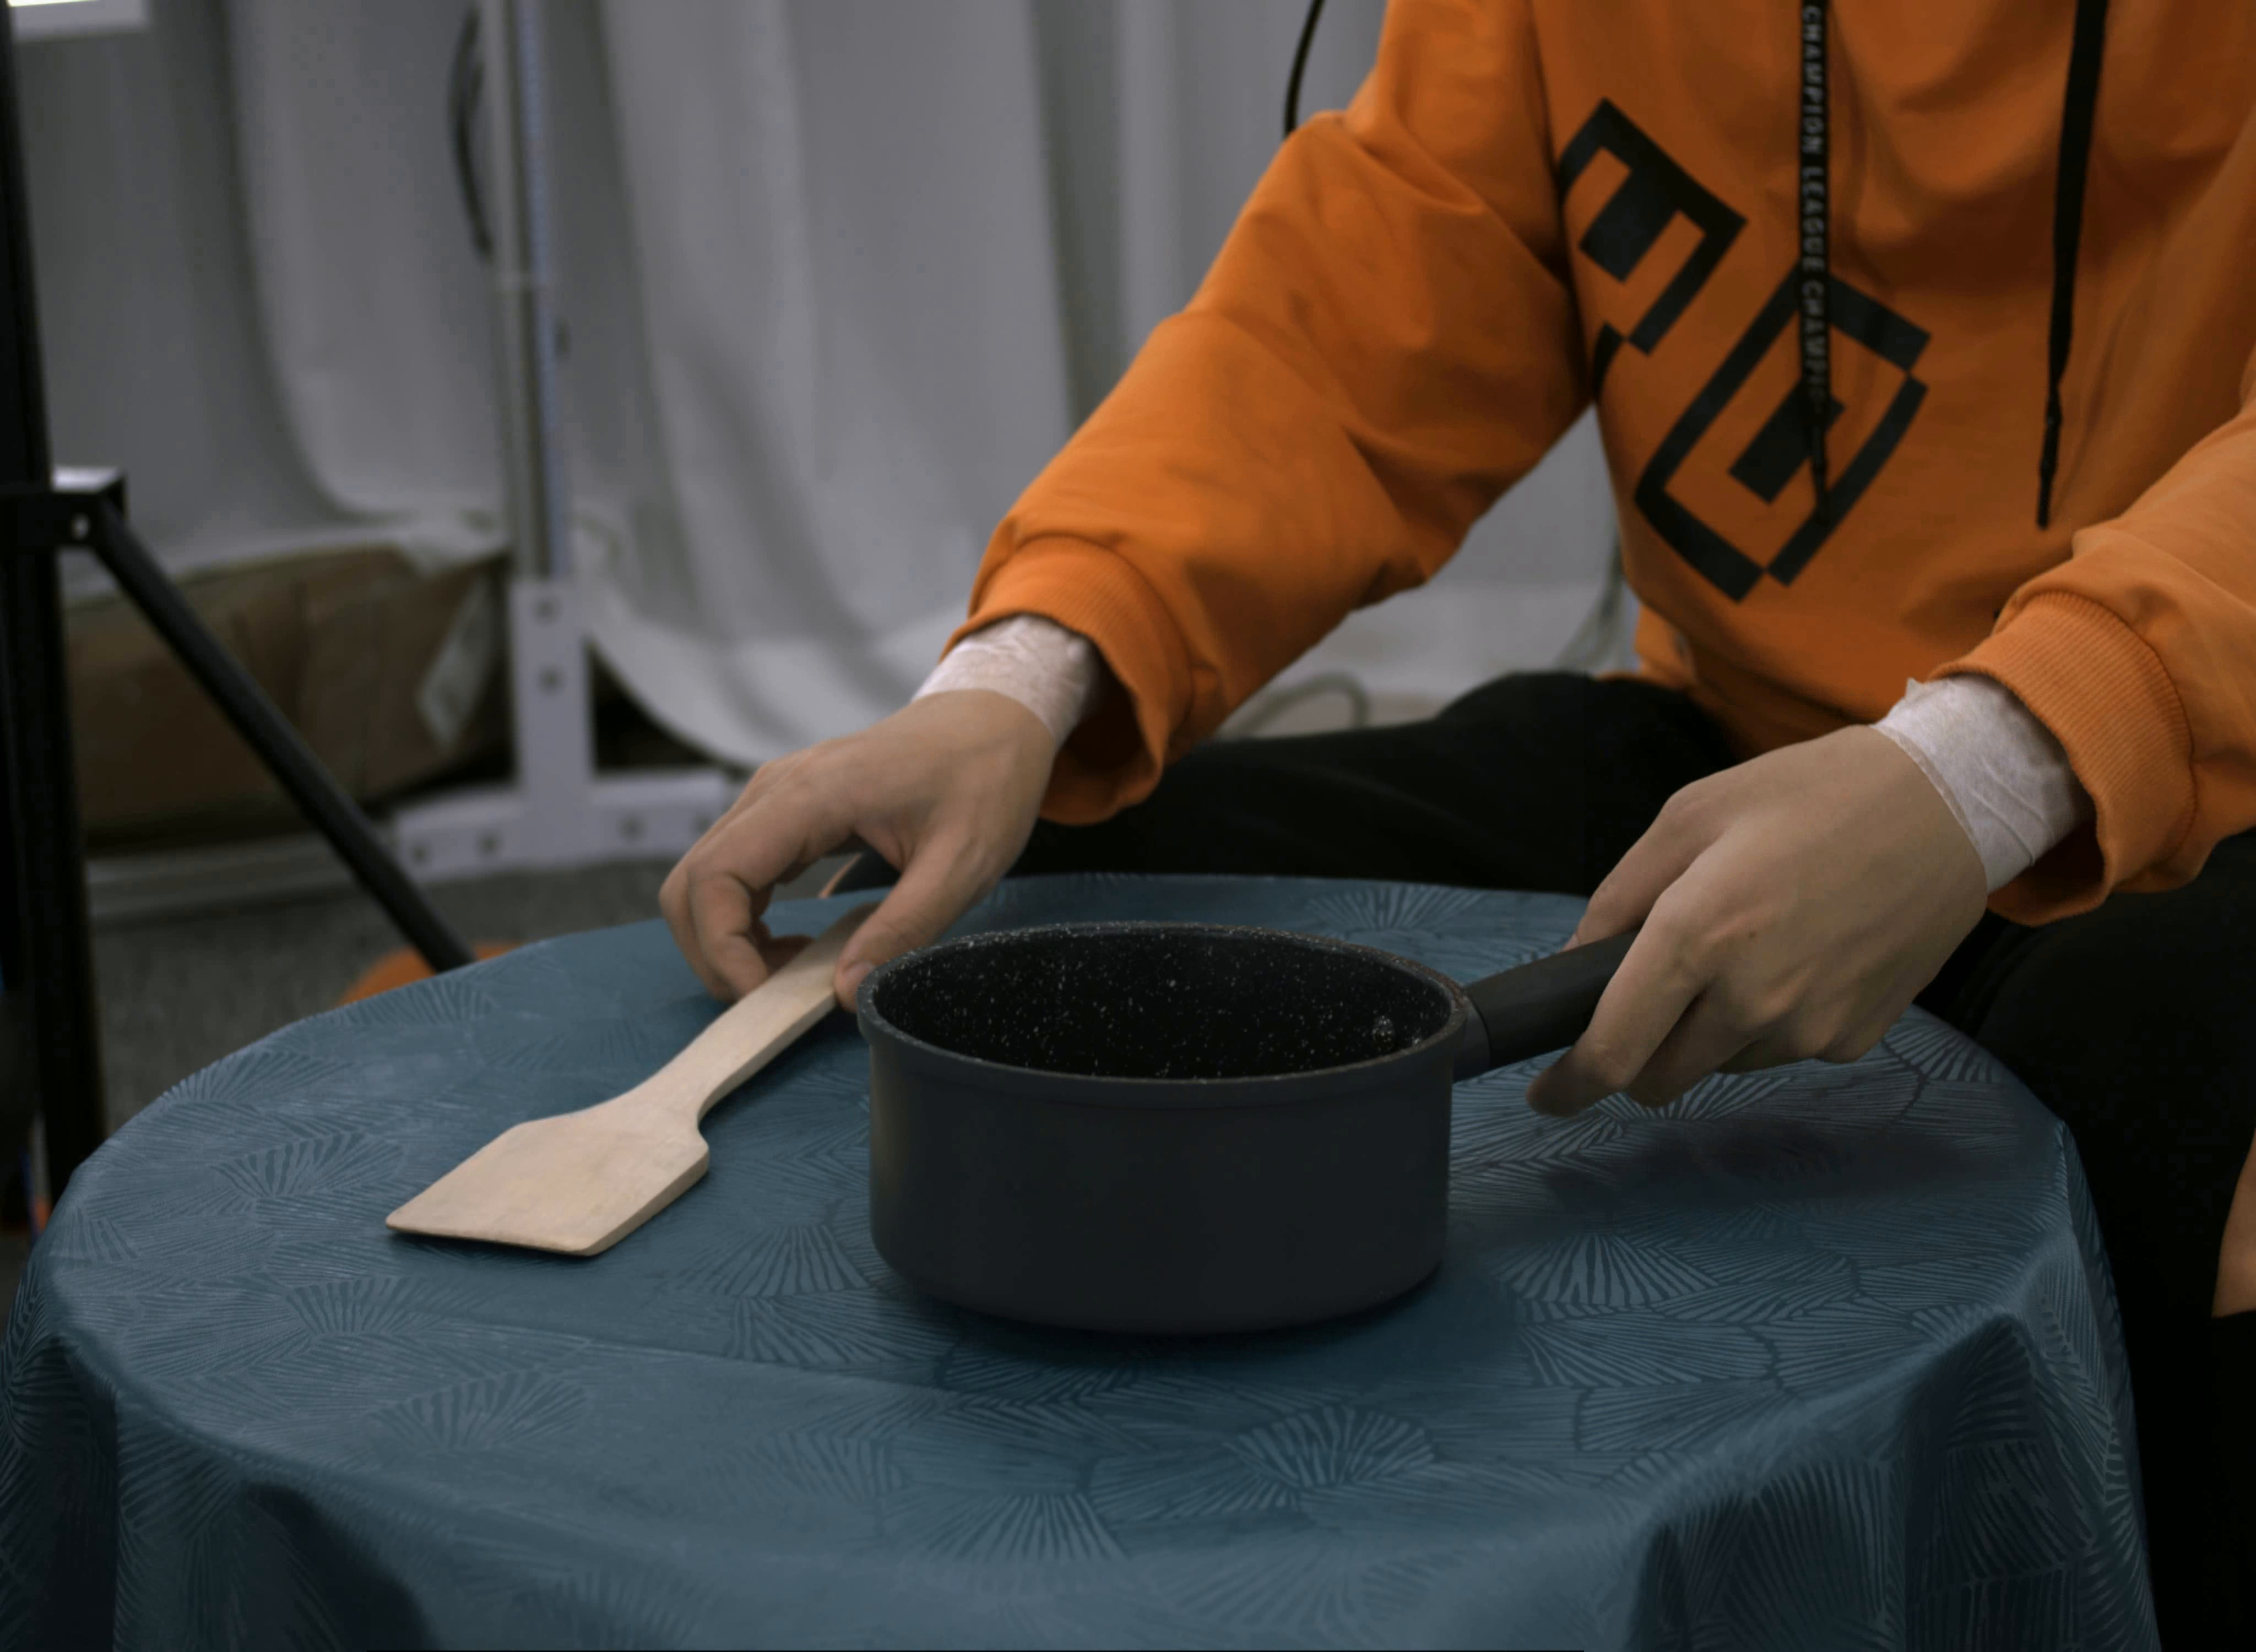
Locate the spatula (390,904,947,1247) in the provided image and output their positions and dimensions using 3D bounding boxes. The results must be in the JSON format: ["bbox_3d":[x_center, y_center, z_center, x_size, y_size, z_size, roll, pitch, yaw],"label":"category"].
[{"bbox_3d":[-0.129,0.075,1.663,0.073,0.010,0.289,2,19,25],"label":"spatula"}]

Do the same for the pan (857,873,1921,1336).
[{"bbox_3d":[0.080,0.074,1.516,0.322,0.086,0.175,-7,16,-23],"label":"pan"}]
